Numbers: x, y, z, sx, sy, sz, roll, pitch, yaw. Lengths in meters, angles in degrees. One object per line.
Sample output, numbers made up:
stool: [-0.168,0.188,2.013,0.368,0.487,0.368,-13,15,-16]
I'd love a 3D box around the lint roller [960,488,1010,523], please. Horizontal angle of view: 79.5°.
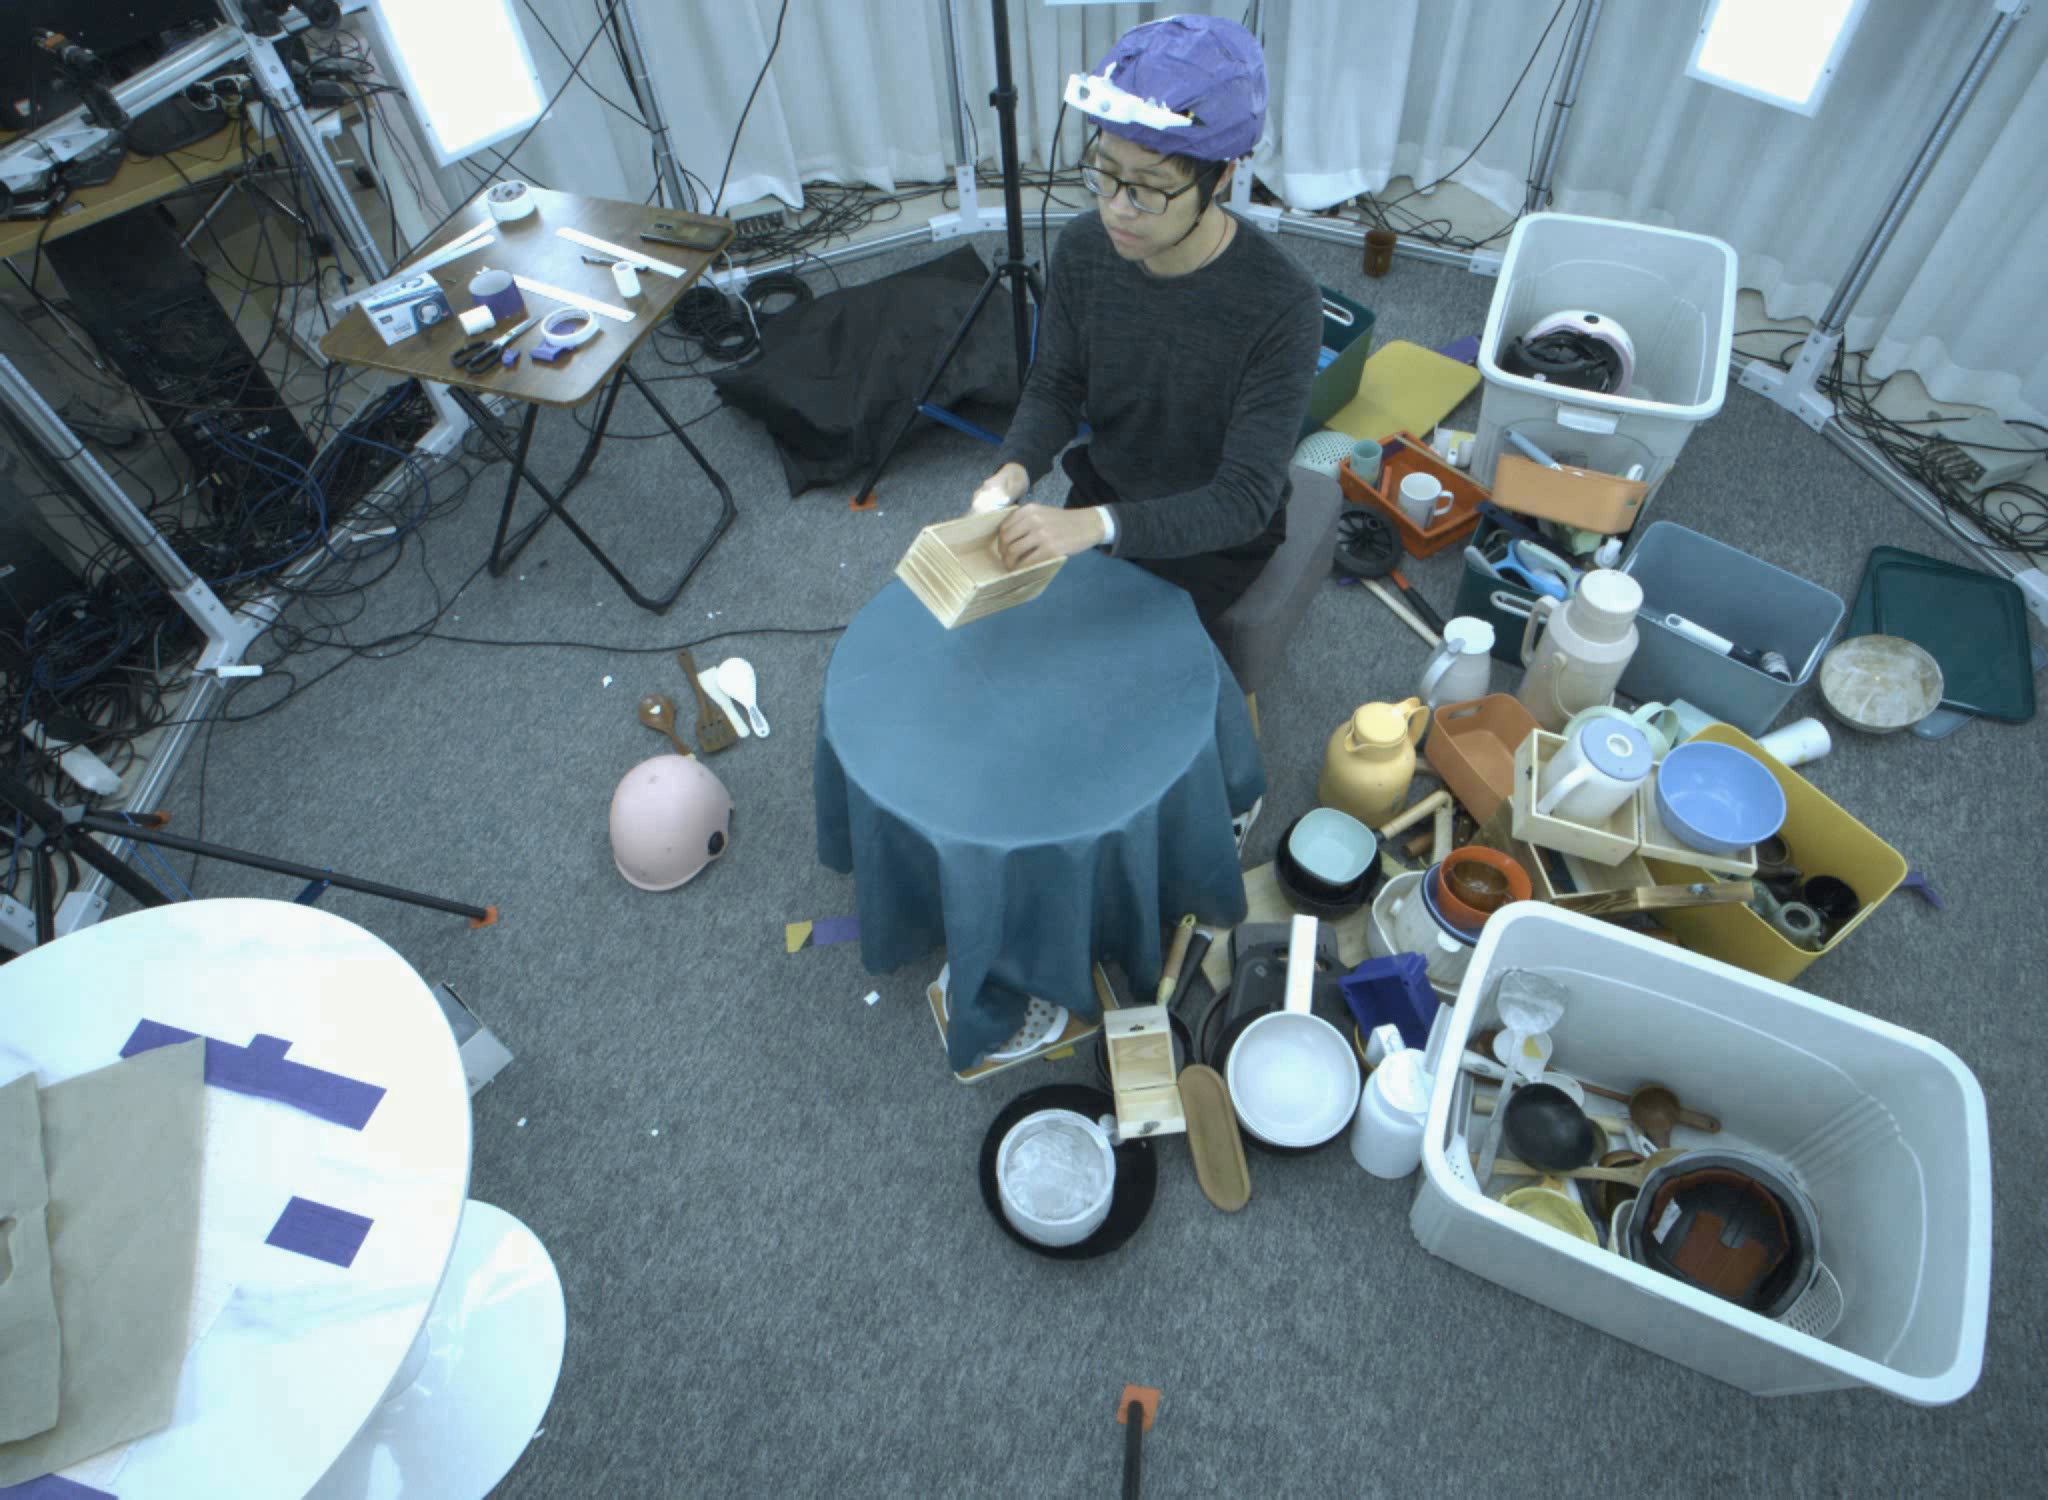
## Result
lint roller: [-0.057,-0.339,1.746,0.051,0.132,0.180,33,32,-11]

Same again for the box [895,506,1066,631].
box: [-0.054,-0.239,1.588,0.107,0.080,0.214,47,35,9]
